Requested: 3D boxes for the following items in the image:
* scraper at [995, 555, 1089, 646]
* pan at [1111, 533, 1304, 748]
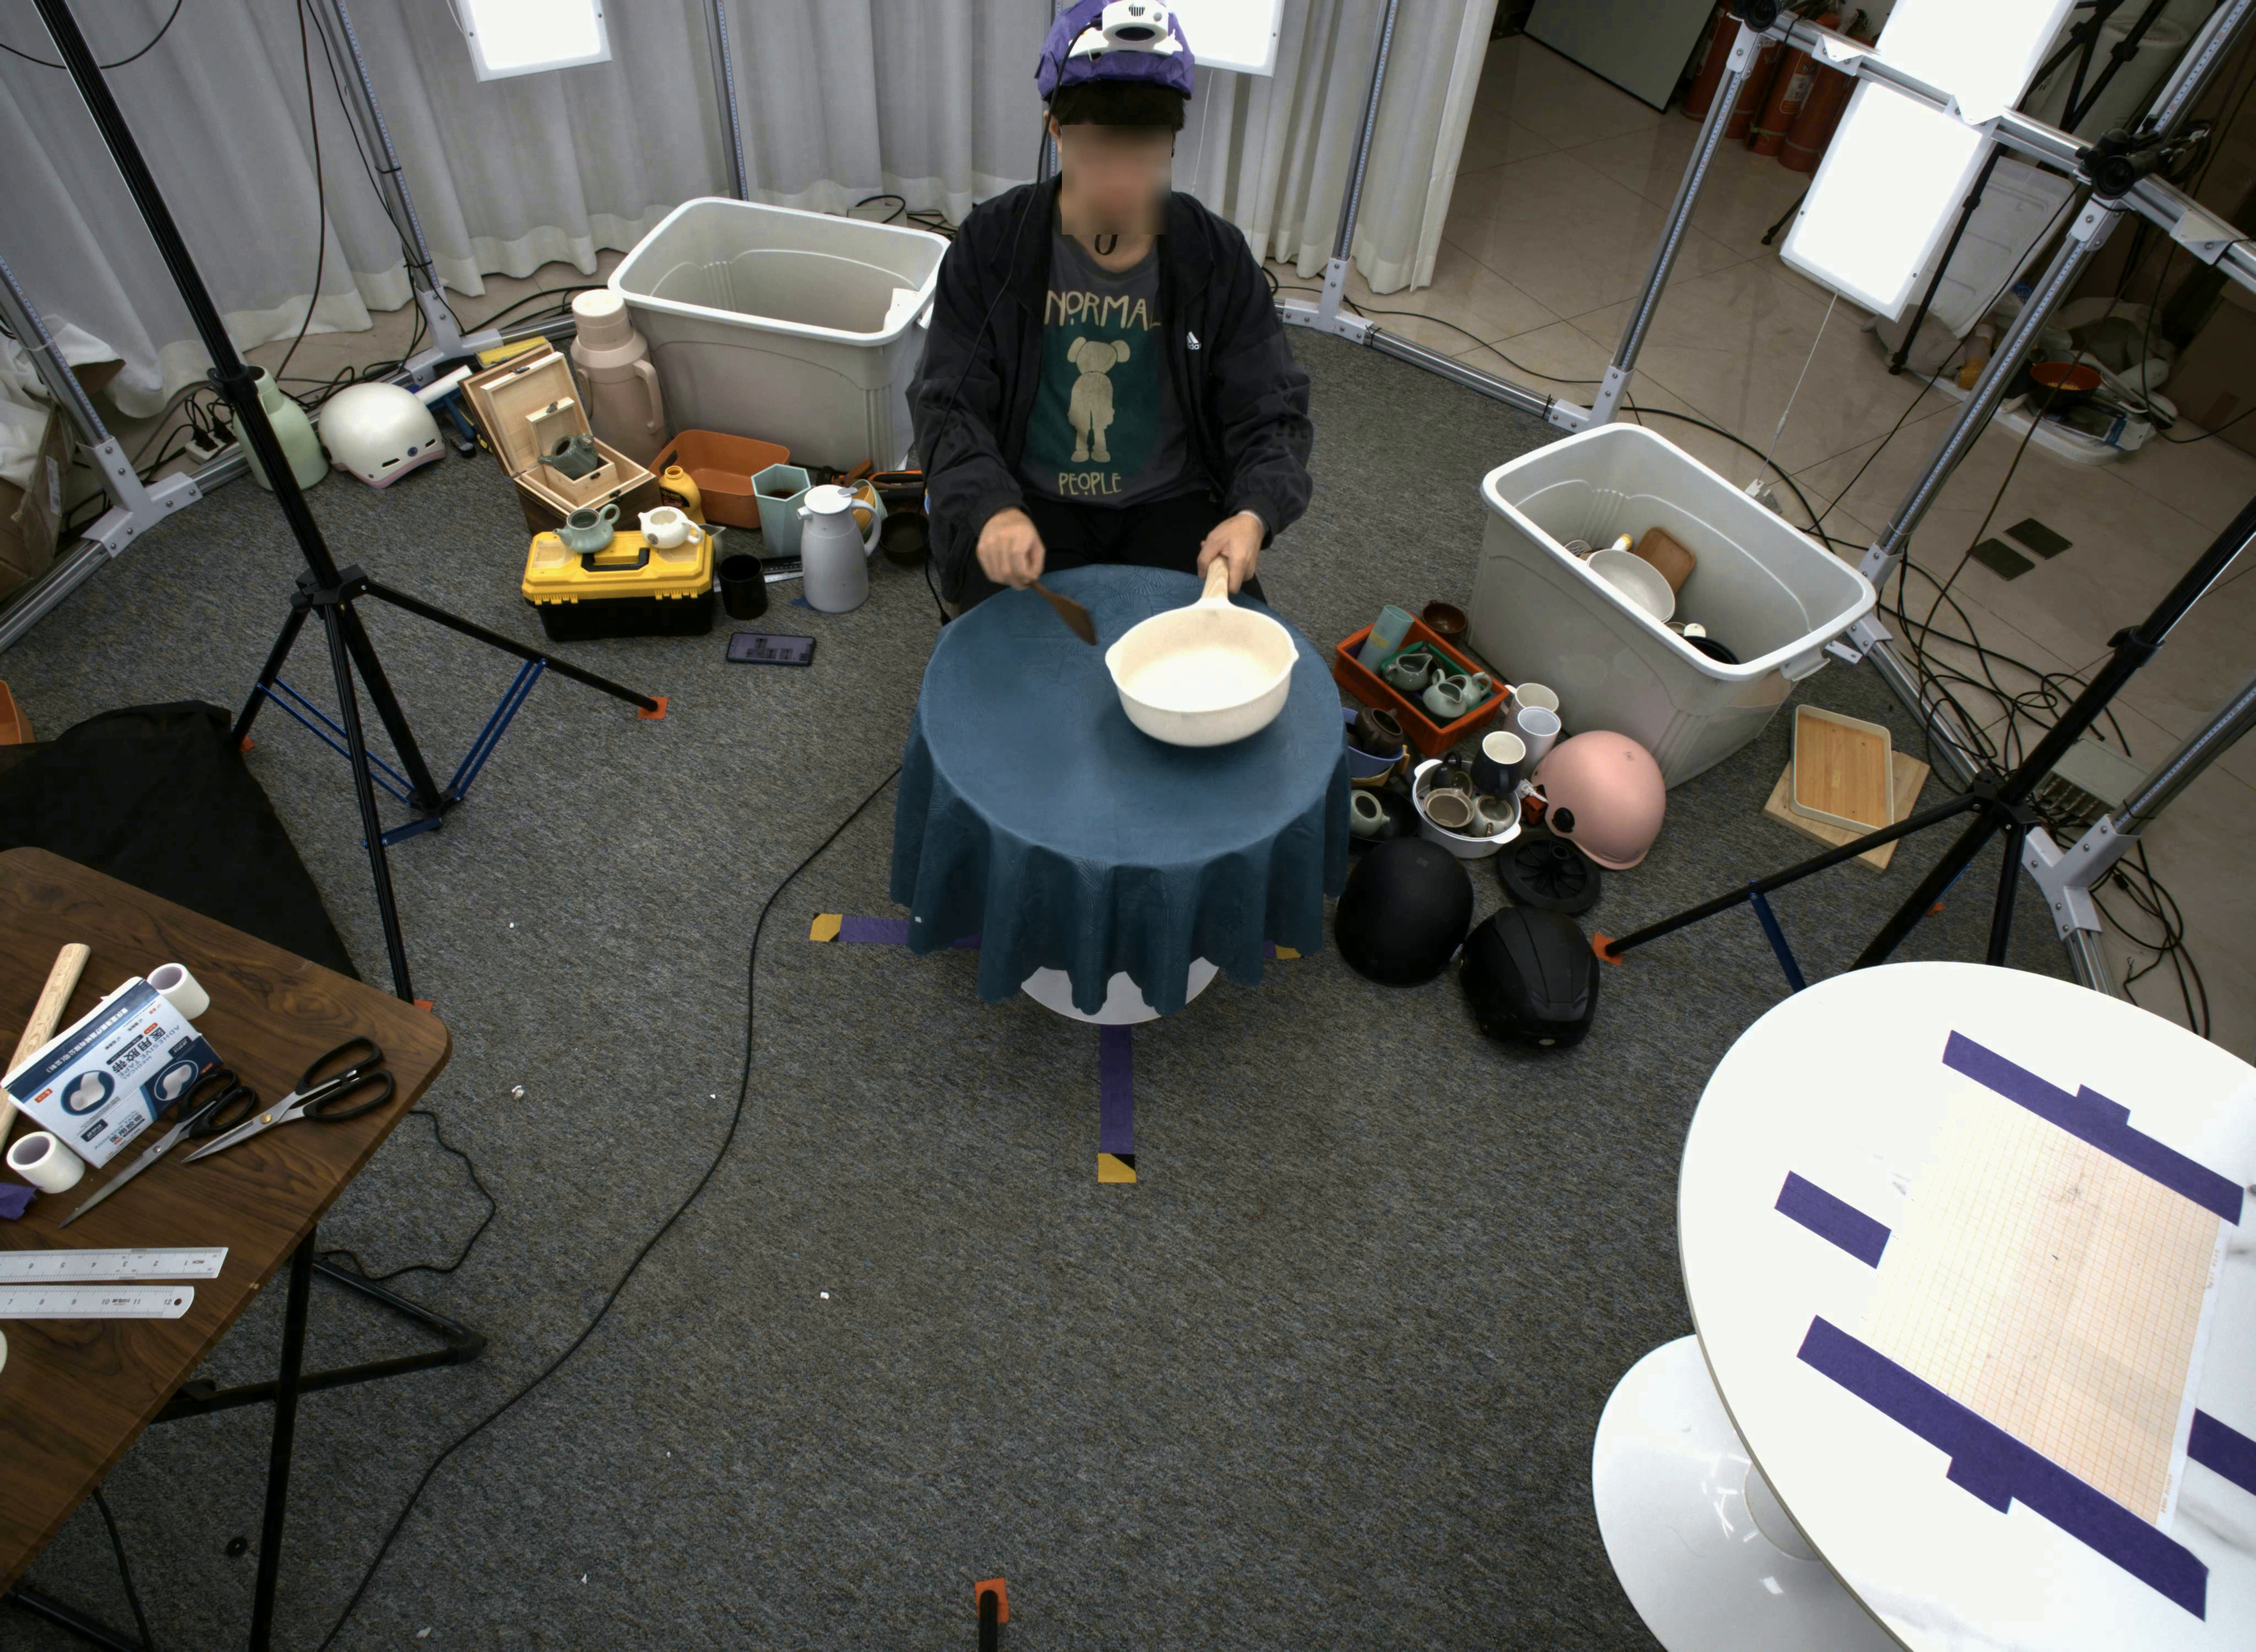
[{"bbox_3d":[-0.120,-0.312,1.736,0.011,0.074,0.215,-36,51,-13],"label":"scraper"},{"bbox_3d":[0.124,-0.265,1.827,0.264,0.099,0.445,0,40,12],"label":"pan"}]
